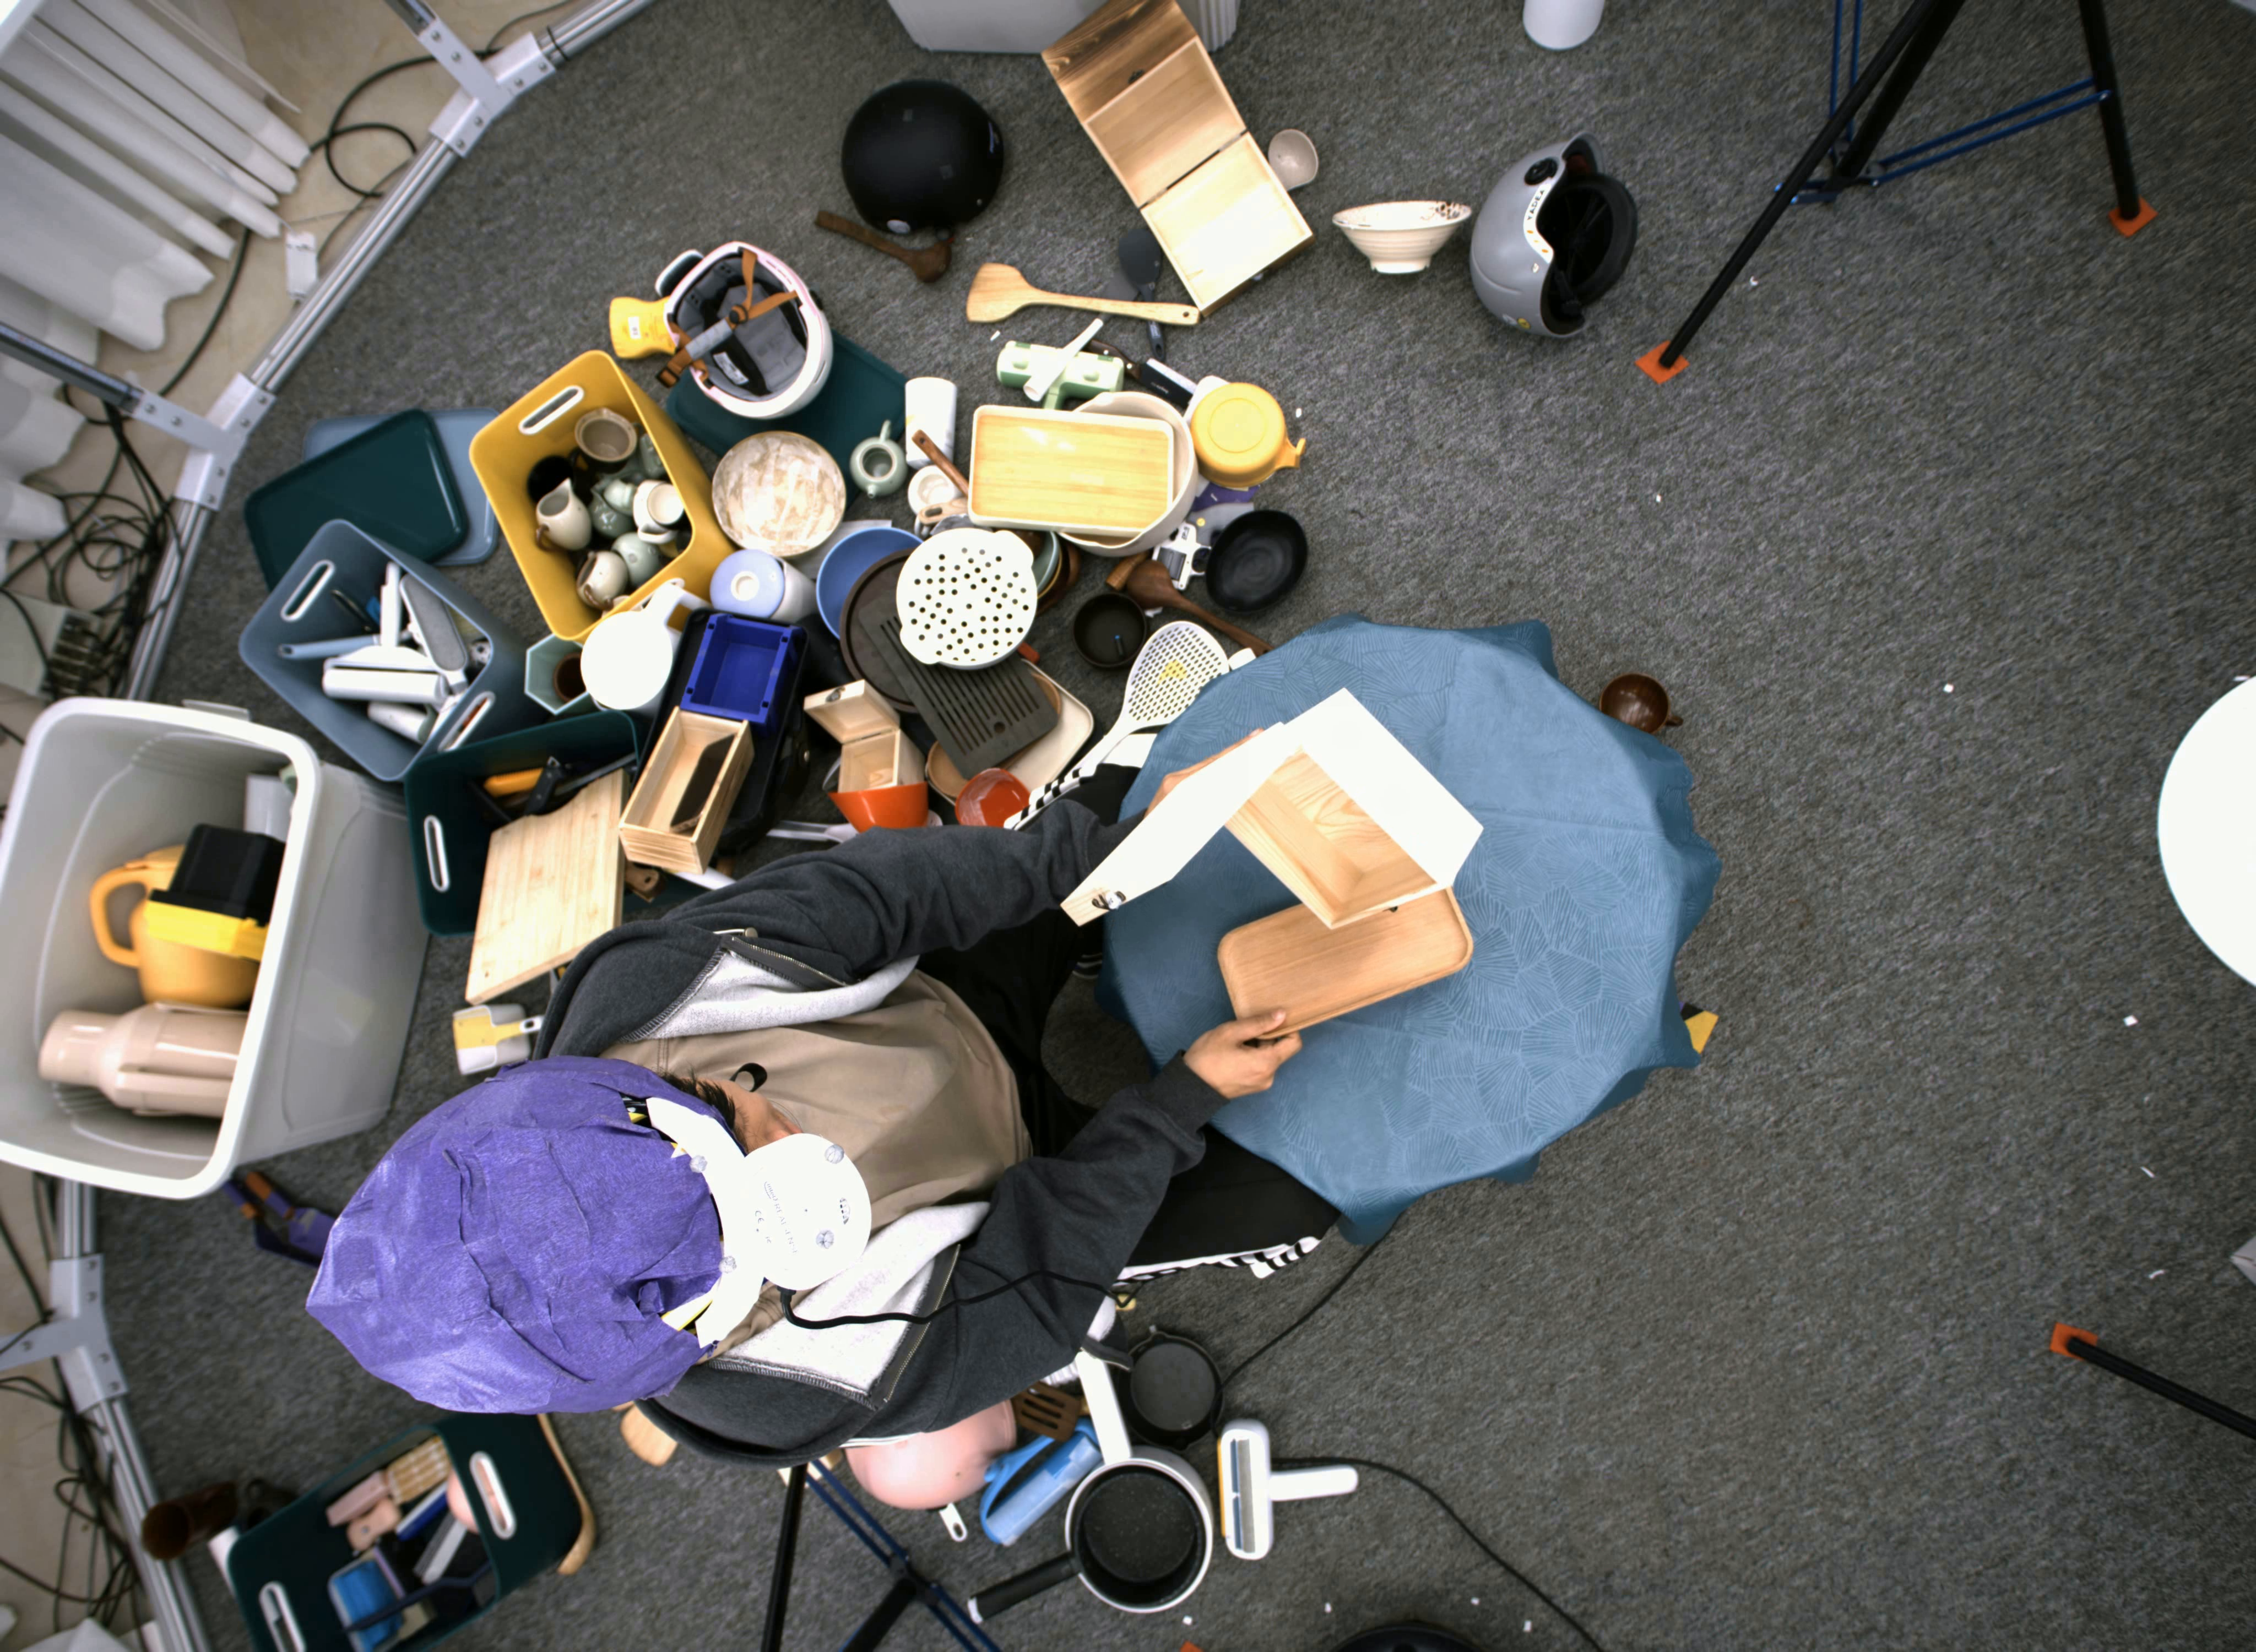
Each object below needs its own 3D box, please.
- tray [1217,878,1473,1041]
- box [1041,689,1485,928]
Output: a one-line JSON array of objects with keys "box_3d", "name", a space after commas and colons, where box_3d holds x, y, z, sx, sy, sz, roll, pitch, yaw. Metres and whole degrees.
[{"box_3d": [0.220, 0.128, 1.417, 0.252, 0.023, 0.128, -21, 60, 9], "name": "tray"}, {"box_3d": [0.120, 0.023, 1.221, 0.266, 0.184, 0.248, 44, 64, -9], "name": "box"}]
